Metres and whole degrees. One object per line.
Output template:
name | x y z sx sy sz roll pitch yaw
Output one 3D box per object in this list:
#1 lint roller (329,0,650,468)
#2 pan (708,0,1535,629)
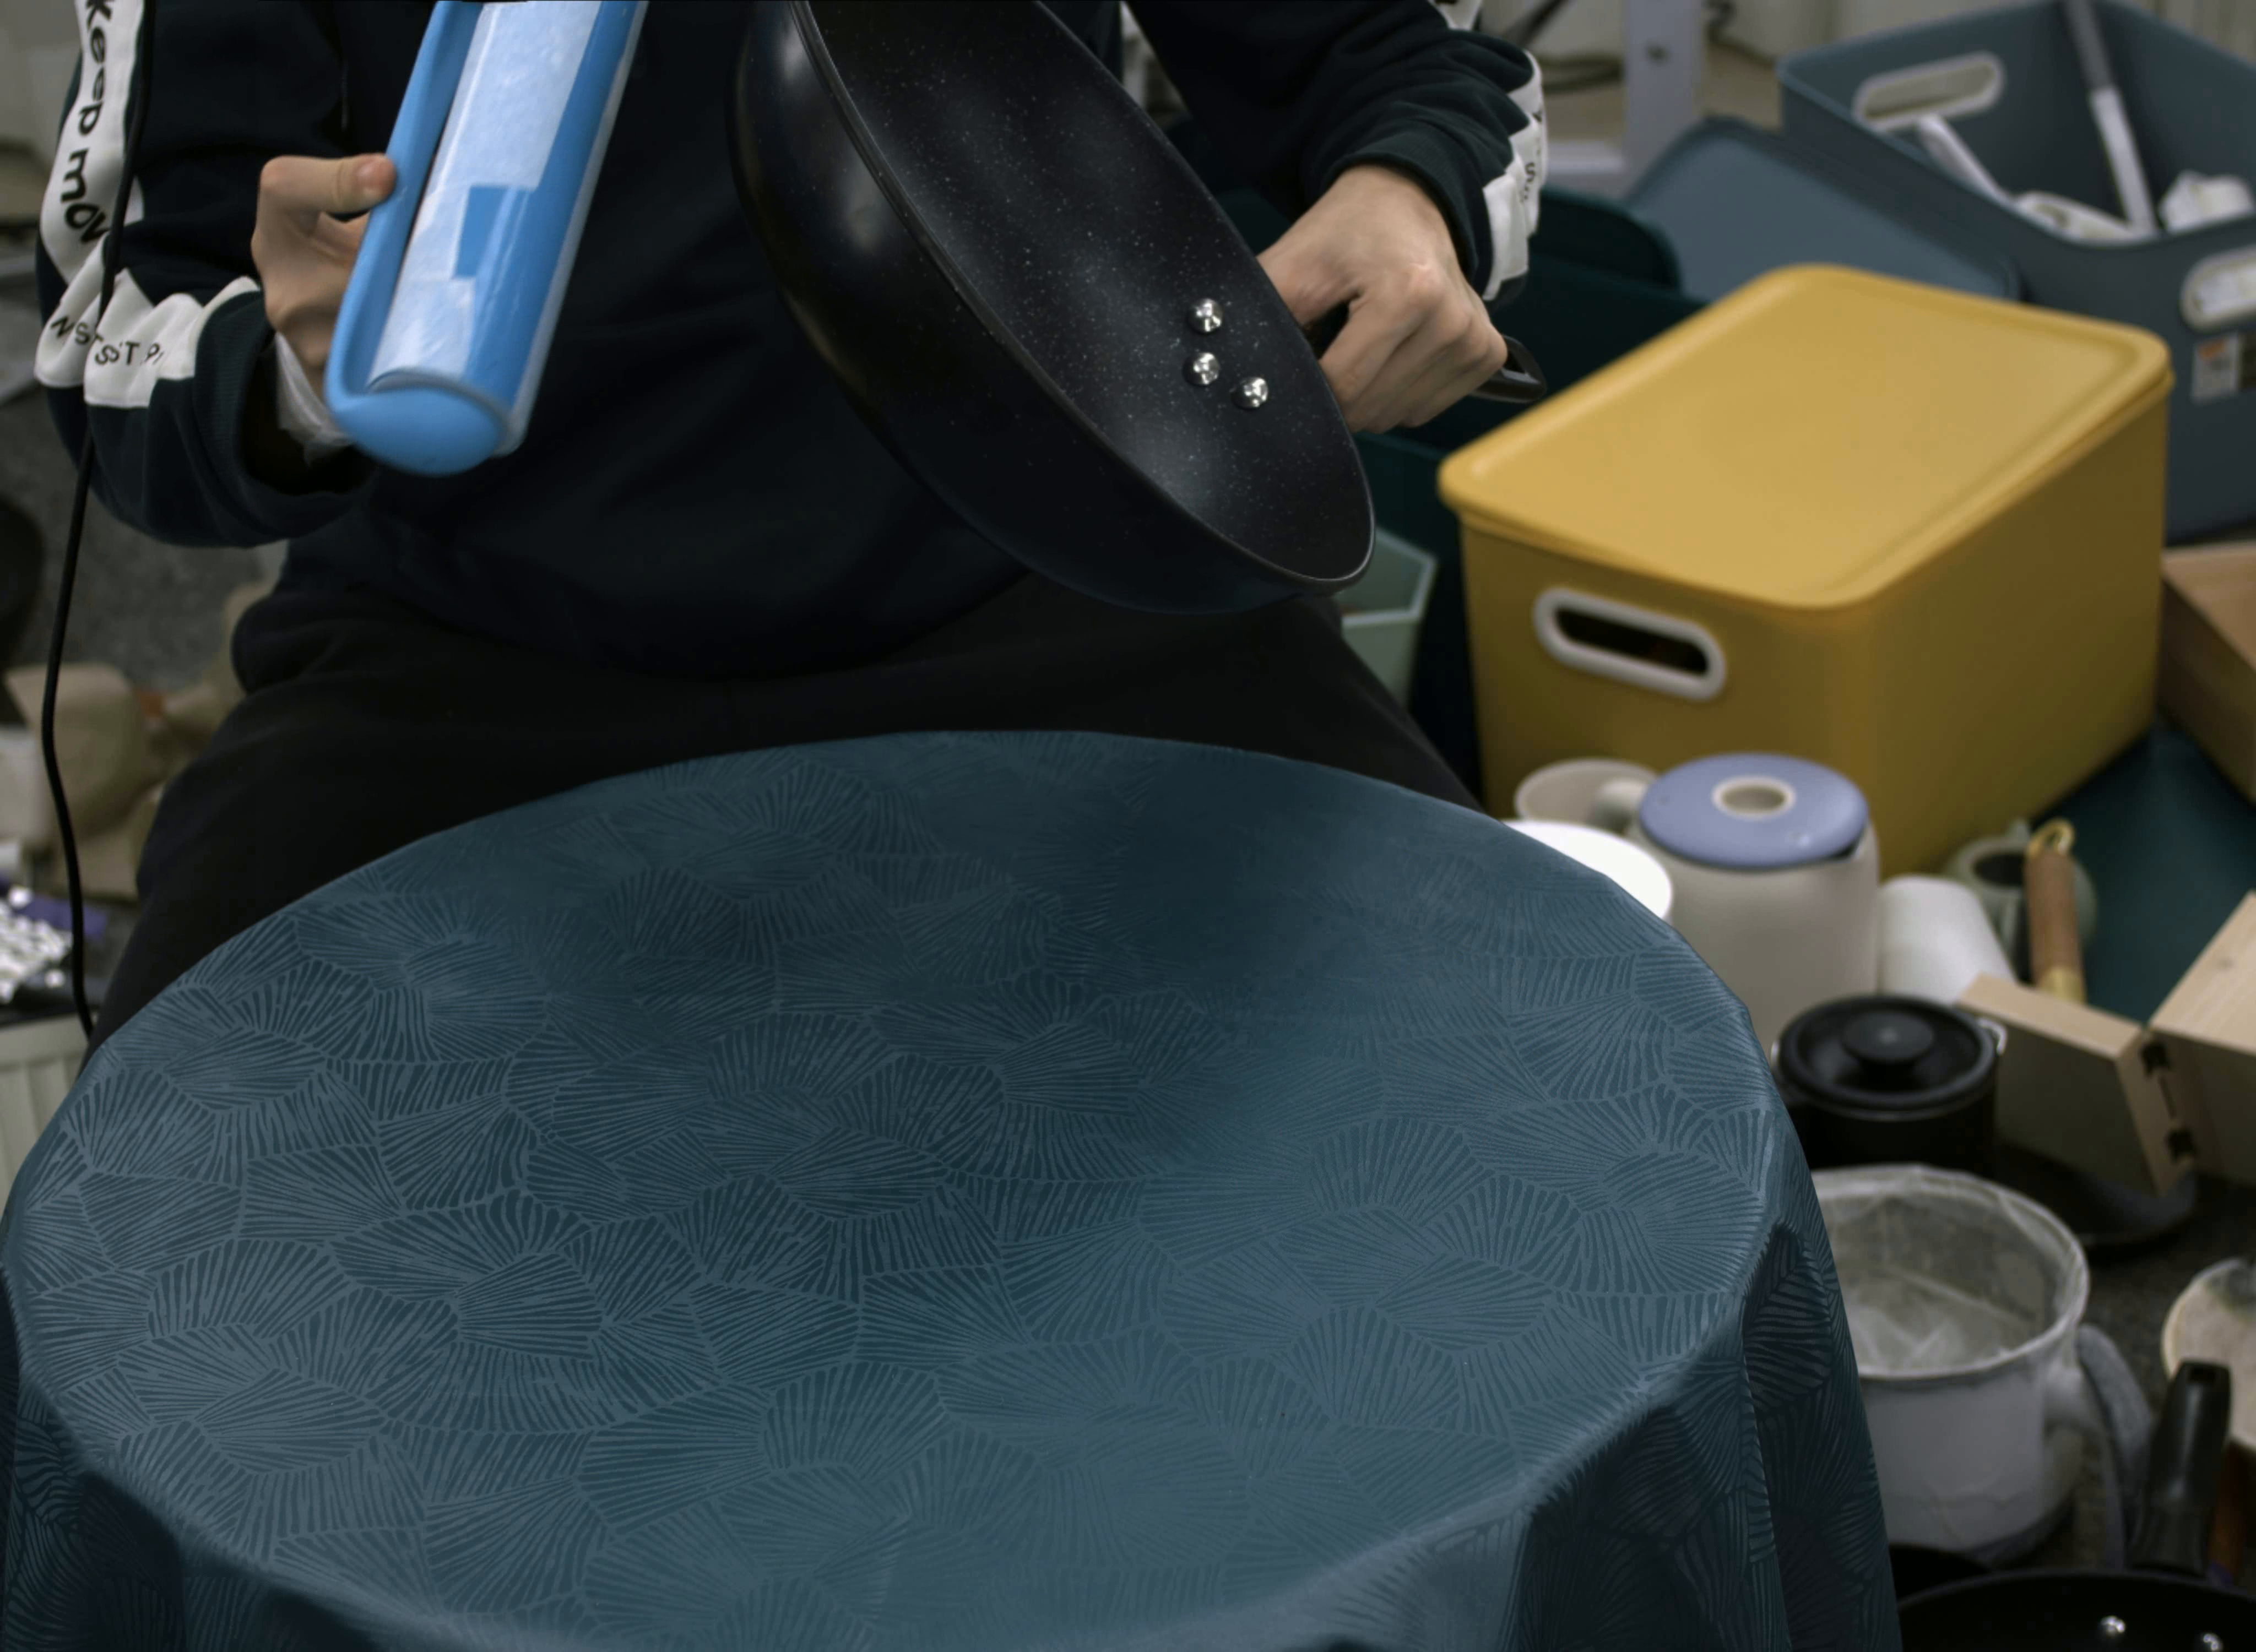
lint roller | -0.229 -0.198 1.928 0.068 0.177 0.233 21 59 -18
pan | 0.001 -0.179 2.029 0.477 0.110 0.313 15 43 -60
